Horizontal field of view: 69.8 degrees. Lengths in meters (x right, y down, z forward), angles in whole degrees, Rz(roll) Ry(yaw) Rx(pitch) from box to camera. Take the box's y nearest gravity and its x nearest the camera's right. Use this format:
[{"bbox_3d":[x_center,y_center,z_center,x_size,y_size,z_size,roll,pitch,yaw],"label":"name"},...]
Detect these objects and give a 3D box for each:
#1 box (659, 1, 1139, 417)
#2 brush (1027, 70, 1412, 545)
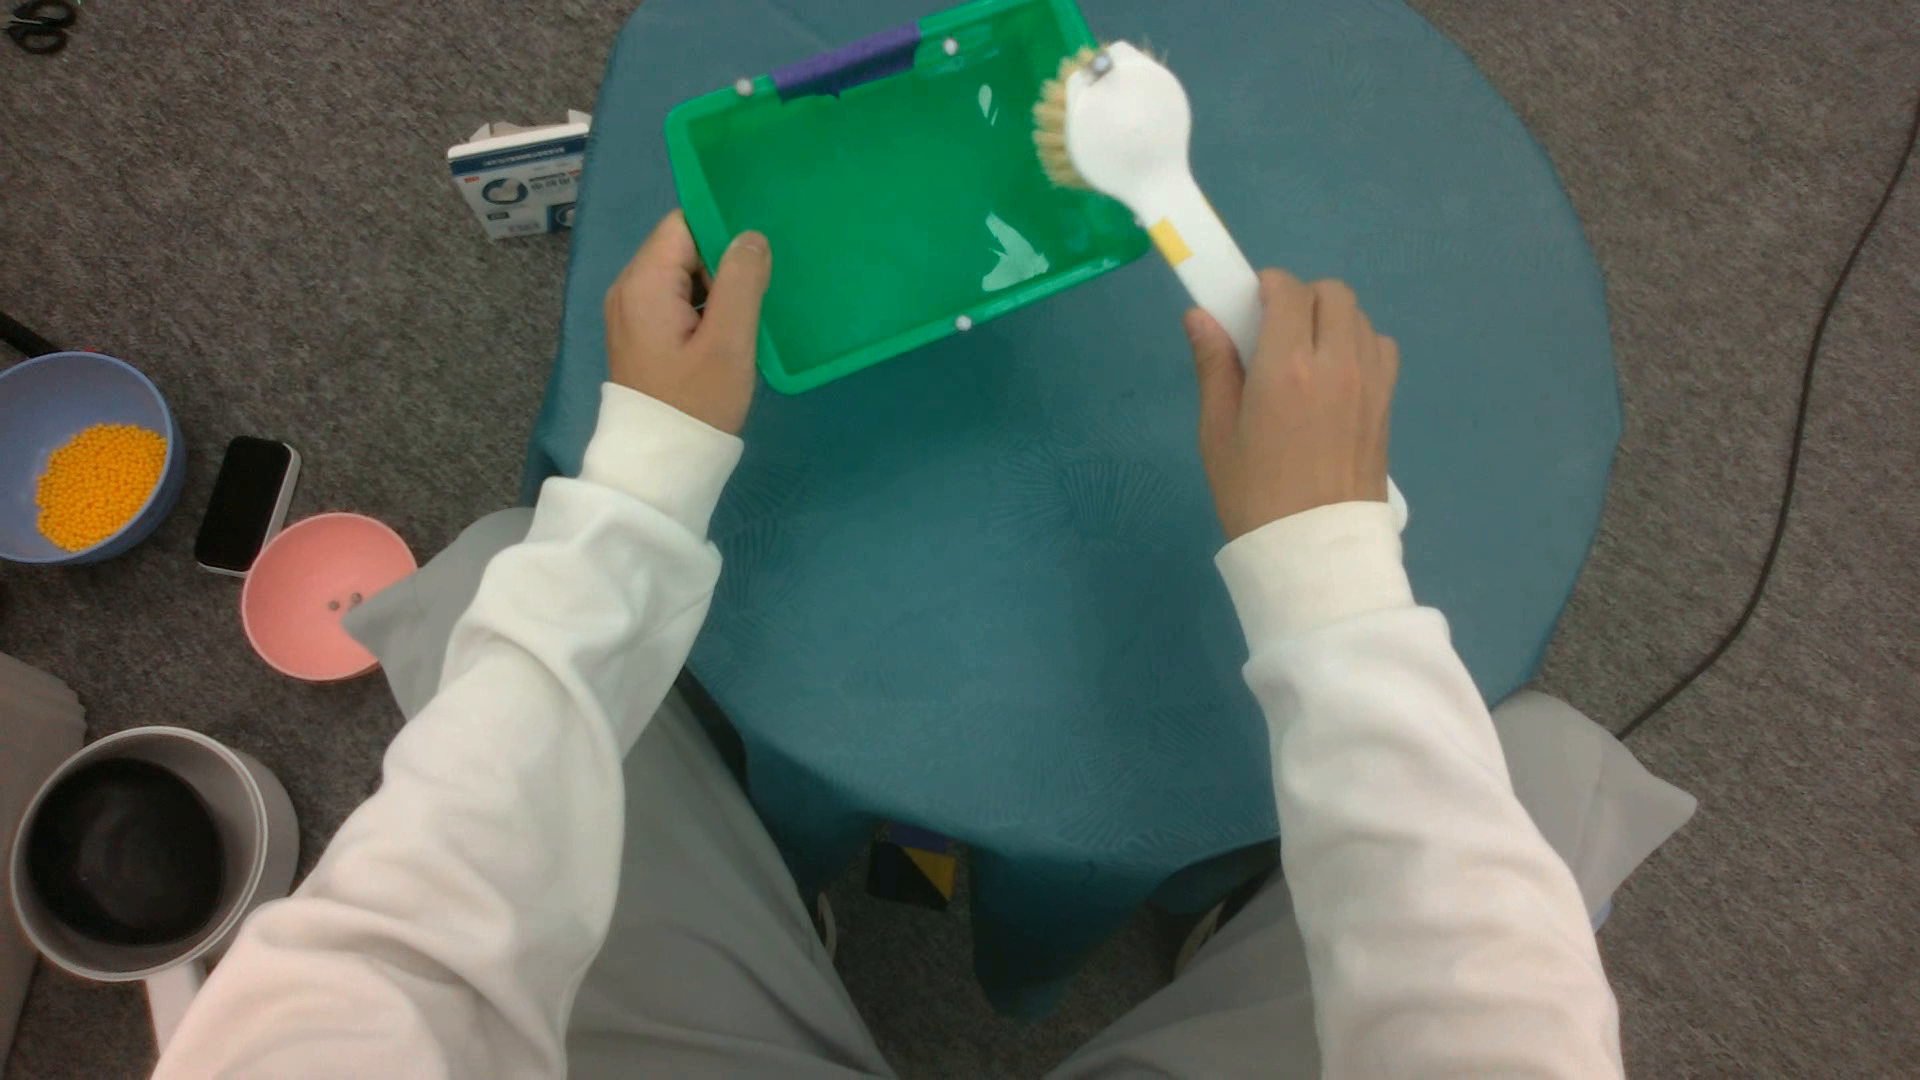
[{"bbox_3d":[-0.030,-0.160,0.680,0.211,0.065,0.138,-25,98,-7],"label":"box"},{"bbox_3d":[0.126,-0.107,0.658,0.068,0.056,0.266,-38,101,3],"label":"brush"}]
